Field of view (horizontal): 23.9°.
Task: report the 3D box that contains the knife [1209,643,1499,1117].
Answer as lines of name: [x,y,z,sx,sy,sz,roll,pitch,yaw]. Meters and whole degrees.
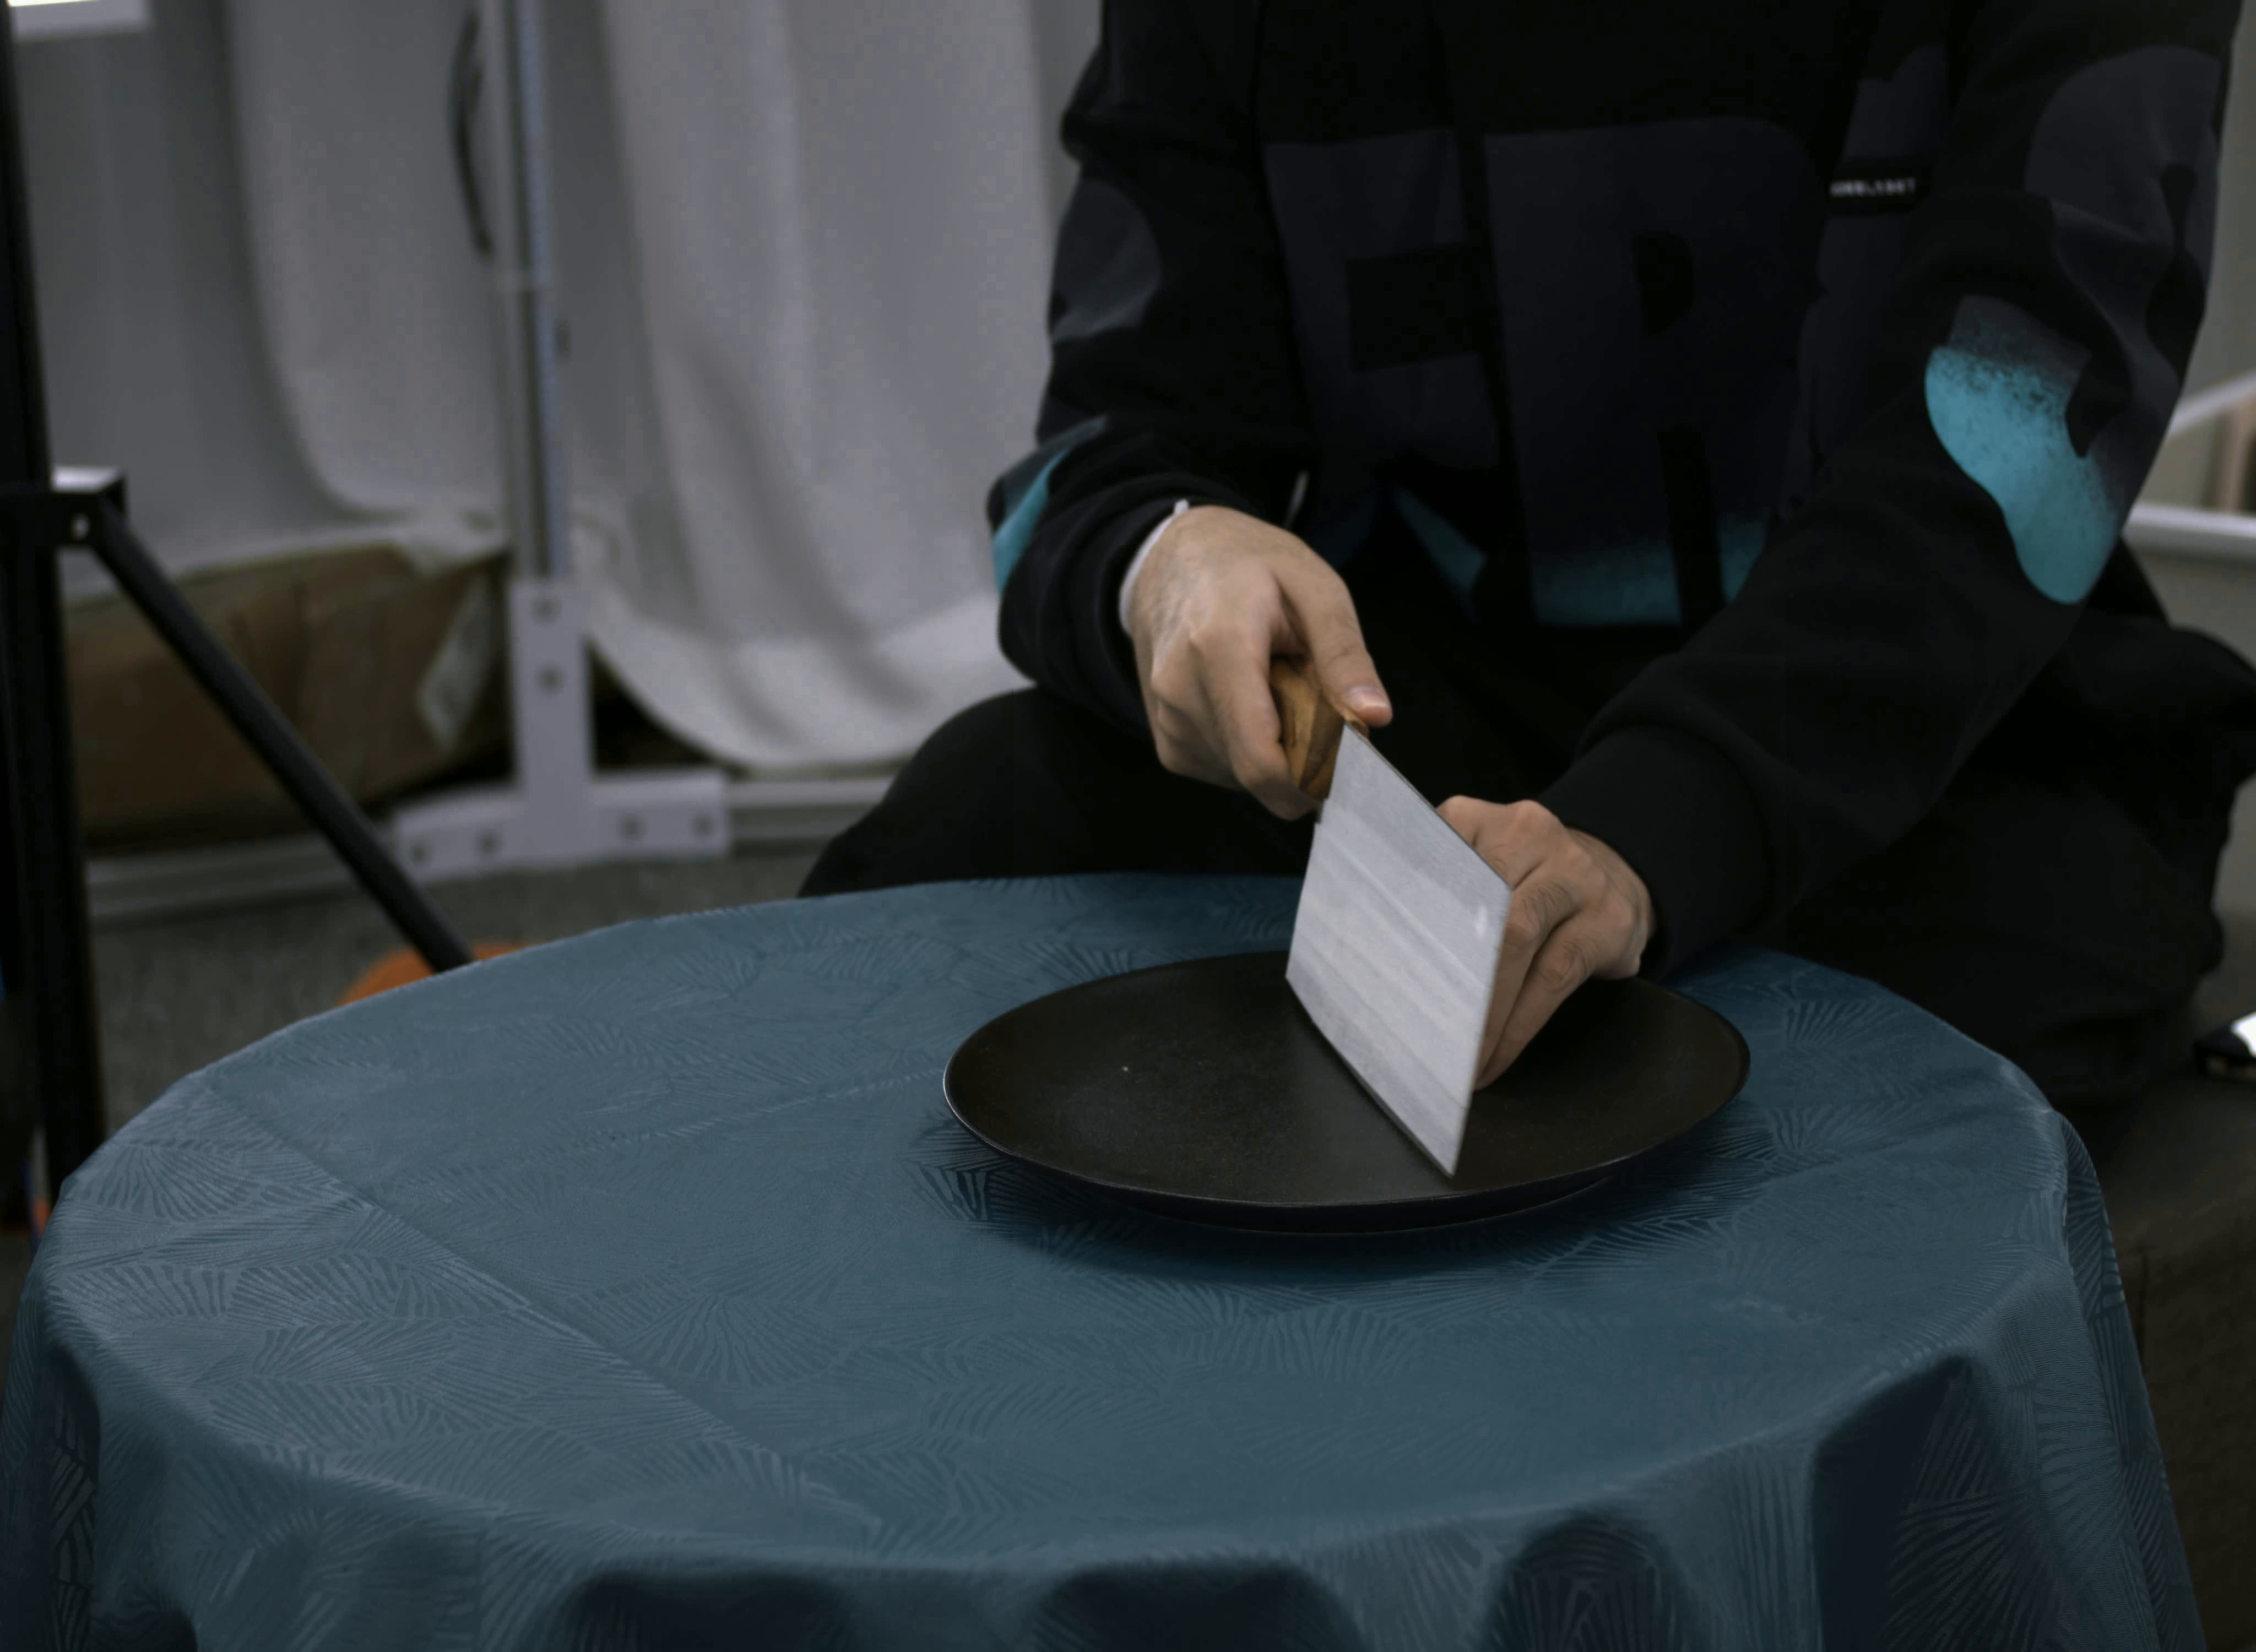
knife: [0.066,0.016,1.651,0.020,0.093,0.309,7,14,-14]

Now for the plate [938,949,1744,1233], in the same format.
plate: [0.064,0.082,1.596,0.243,0.023,0.245,-3,16,-1]
